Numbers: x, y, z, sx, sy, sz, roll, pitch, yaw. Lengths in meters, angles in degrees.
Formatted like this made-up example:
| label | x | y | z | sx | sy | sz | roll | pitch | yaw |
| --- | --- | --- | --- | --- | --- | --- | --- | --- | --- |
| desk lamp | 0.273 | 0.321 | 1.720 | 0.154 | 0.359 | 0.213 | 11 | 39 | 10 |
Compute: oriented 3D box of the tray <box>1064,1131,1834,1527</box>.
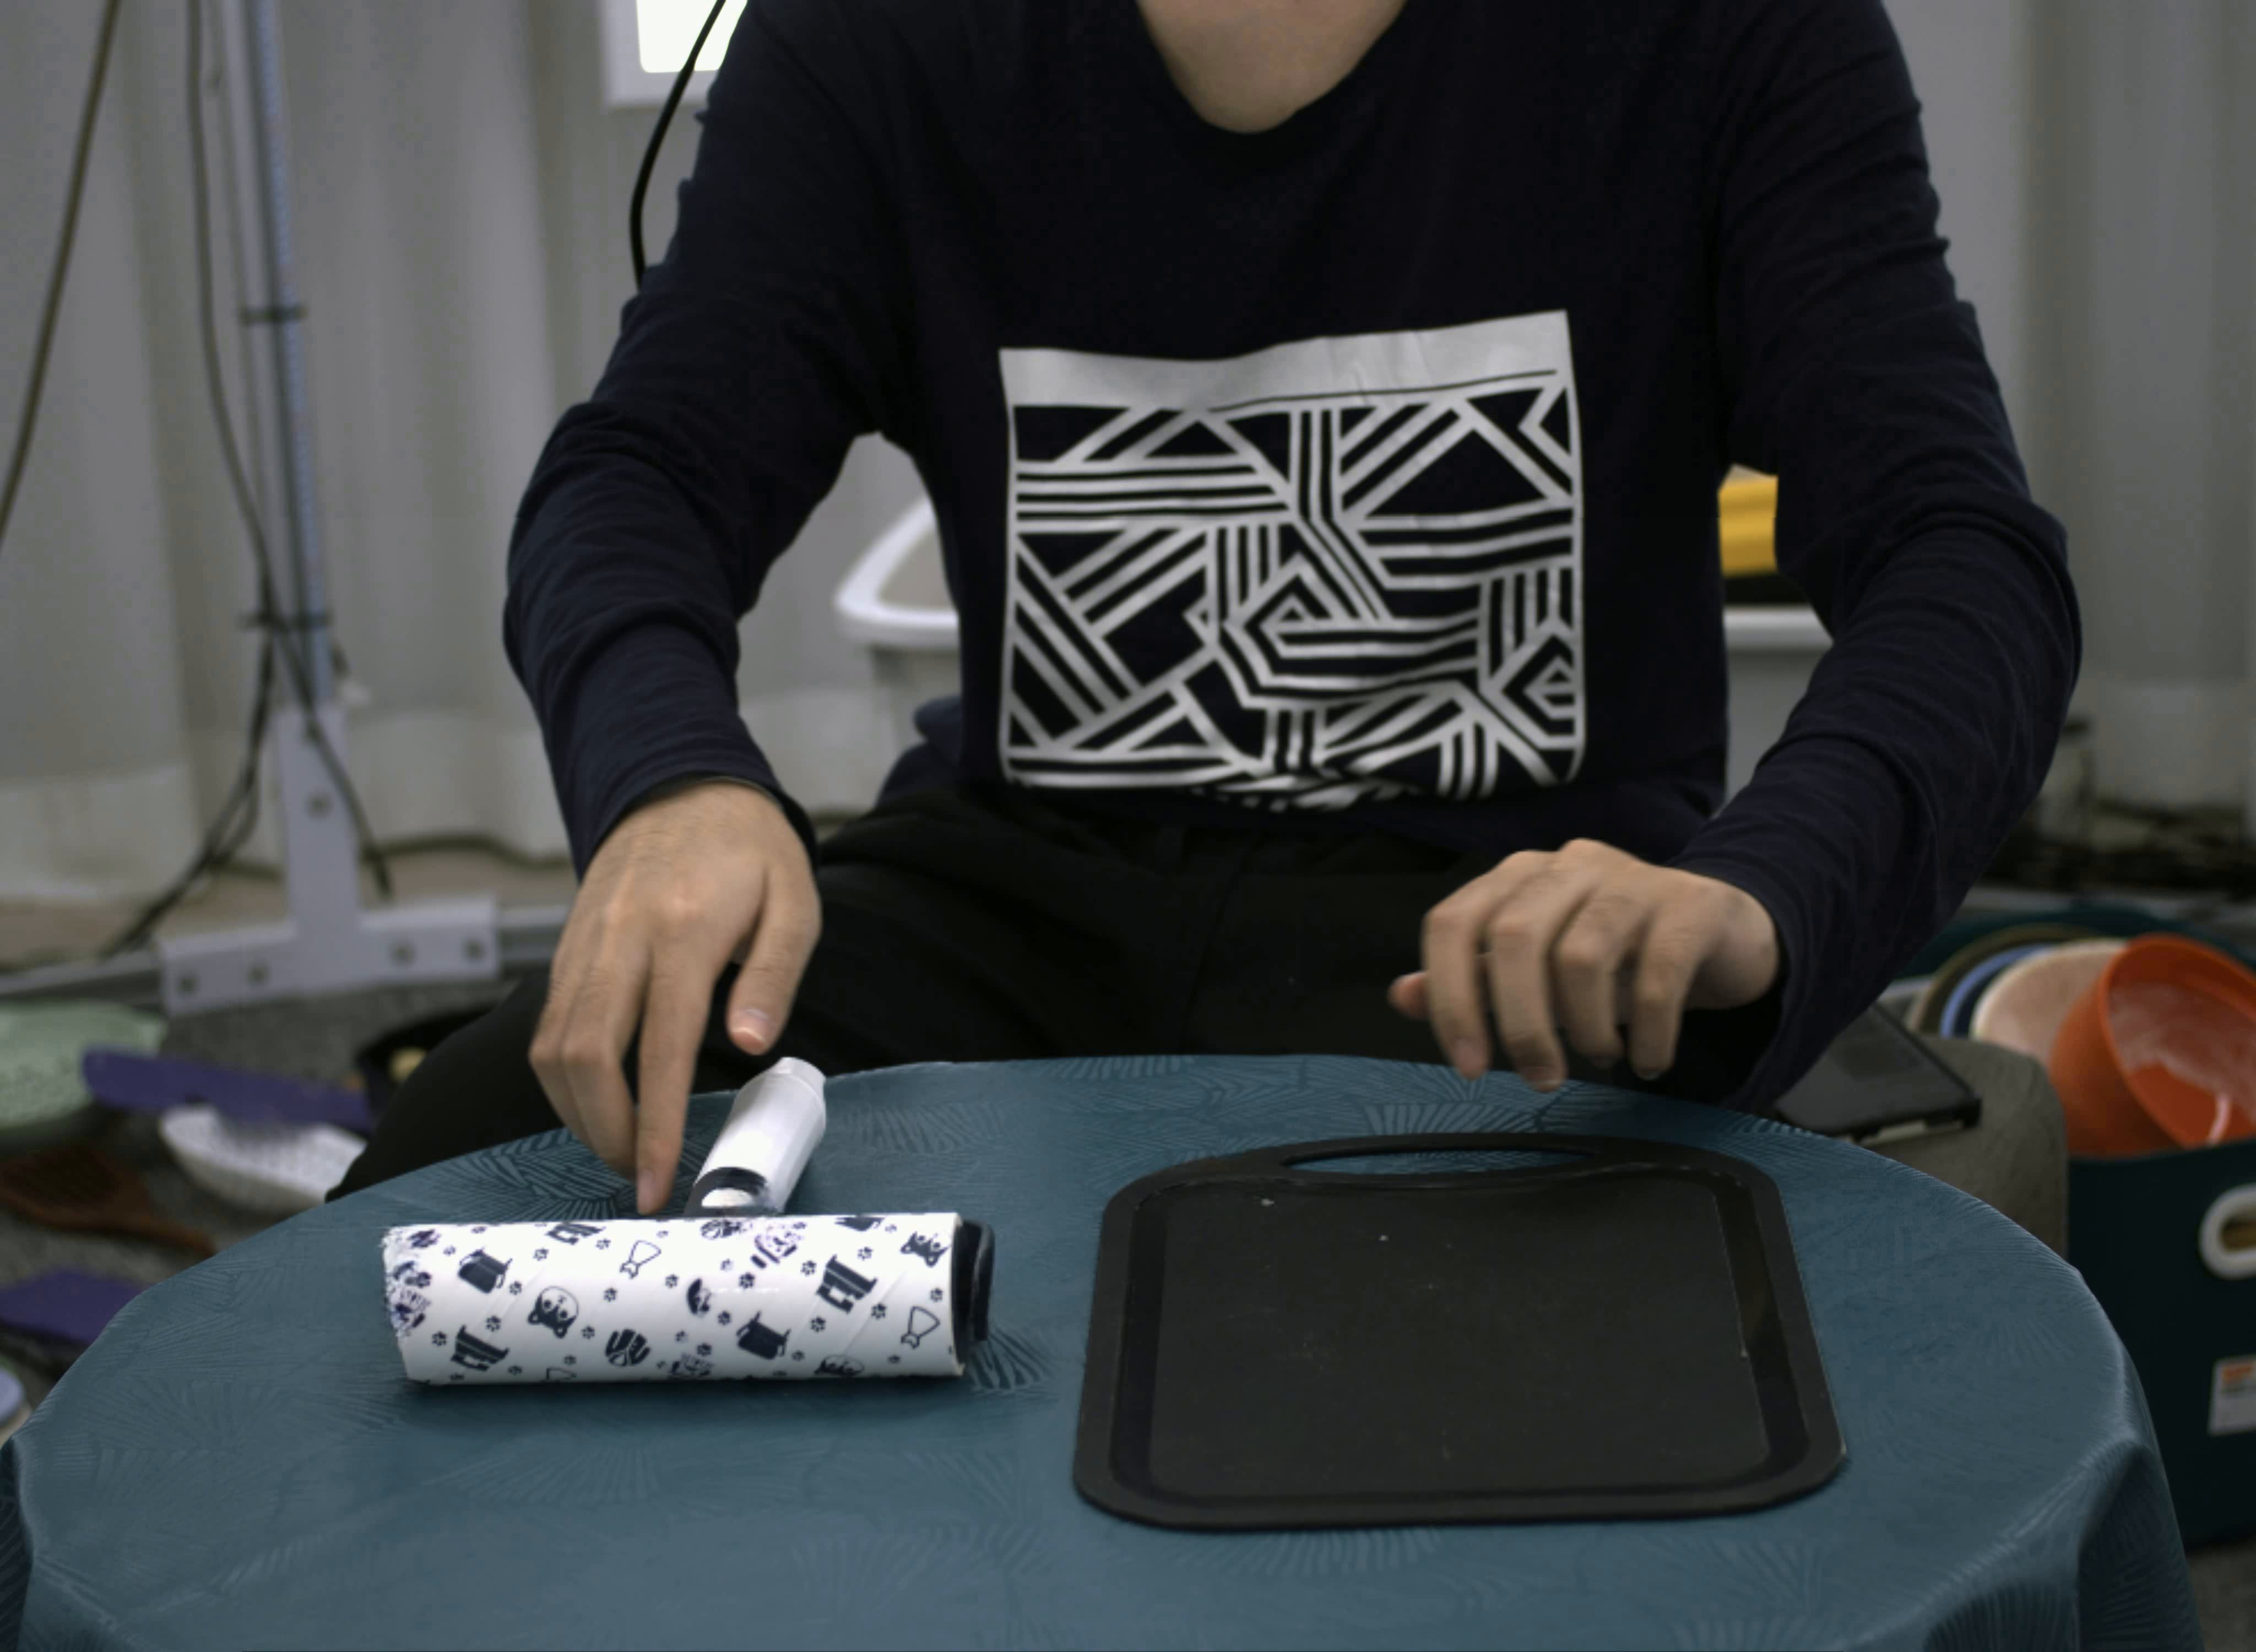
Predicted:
| label | x | y | z | sx | sy | sz | roll | pitch | yaw |
| --- | --- | --- | --- | --- | --- | --- | --- | --- | --- |
| tray | 0.091 | 0.140 | 1.592 | 0.210 | 0.010 | 0.327 | -2 | 15 | 3 |

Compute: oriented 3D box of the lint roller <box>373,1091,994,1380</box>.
| label | x | y | z | sx | sy | sz | roll | pitch | yaw |
| --- | --- | --- | --- | --- | --- | --- | --- | --- | --- |
| lint roller | -0.121 | 0.113 | 1.669 | 0.176 | 0.050 | 0.248 | -3 | 12 | 4 |
